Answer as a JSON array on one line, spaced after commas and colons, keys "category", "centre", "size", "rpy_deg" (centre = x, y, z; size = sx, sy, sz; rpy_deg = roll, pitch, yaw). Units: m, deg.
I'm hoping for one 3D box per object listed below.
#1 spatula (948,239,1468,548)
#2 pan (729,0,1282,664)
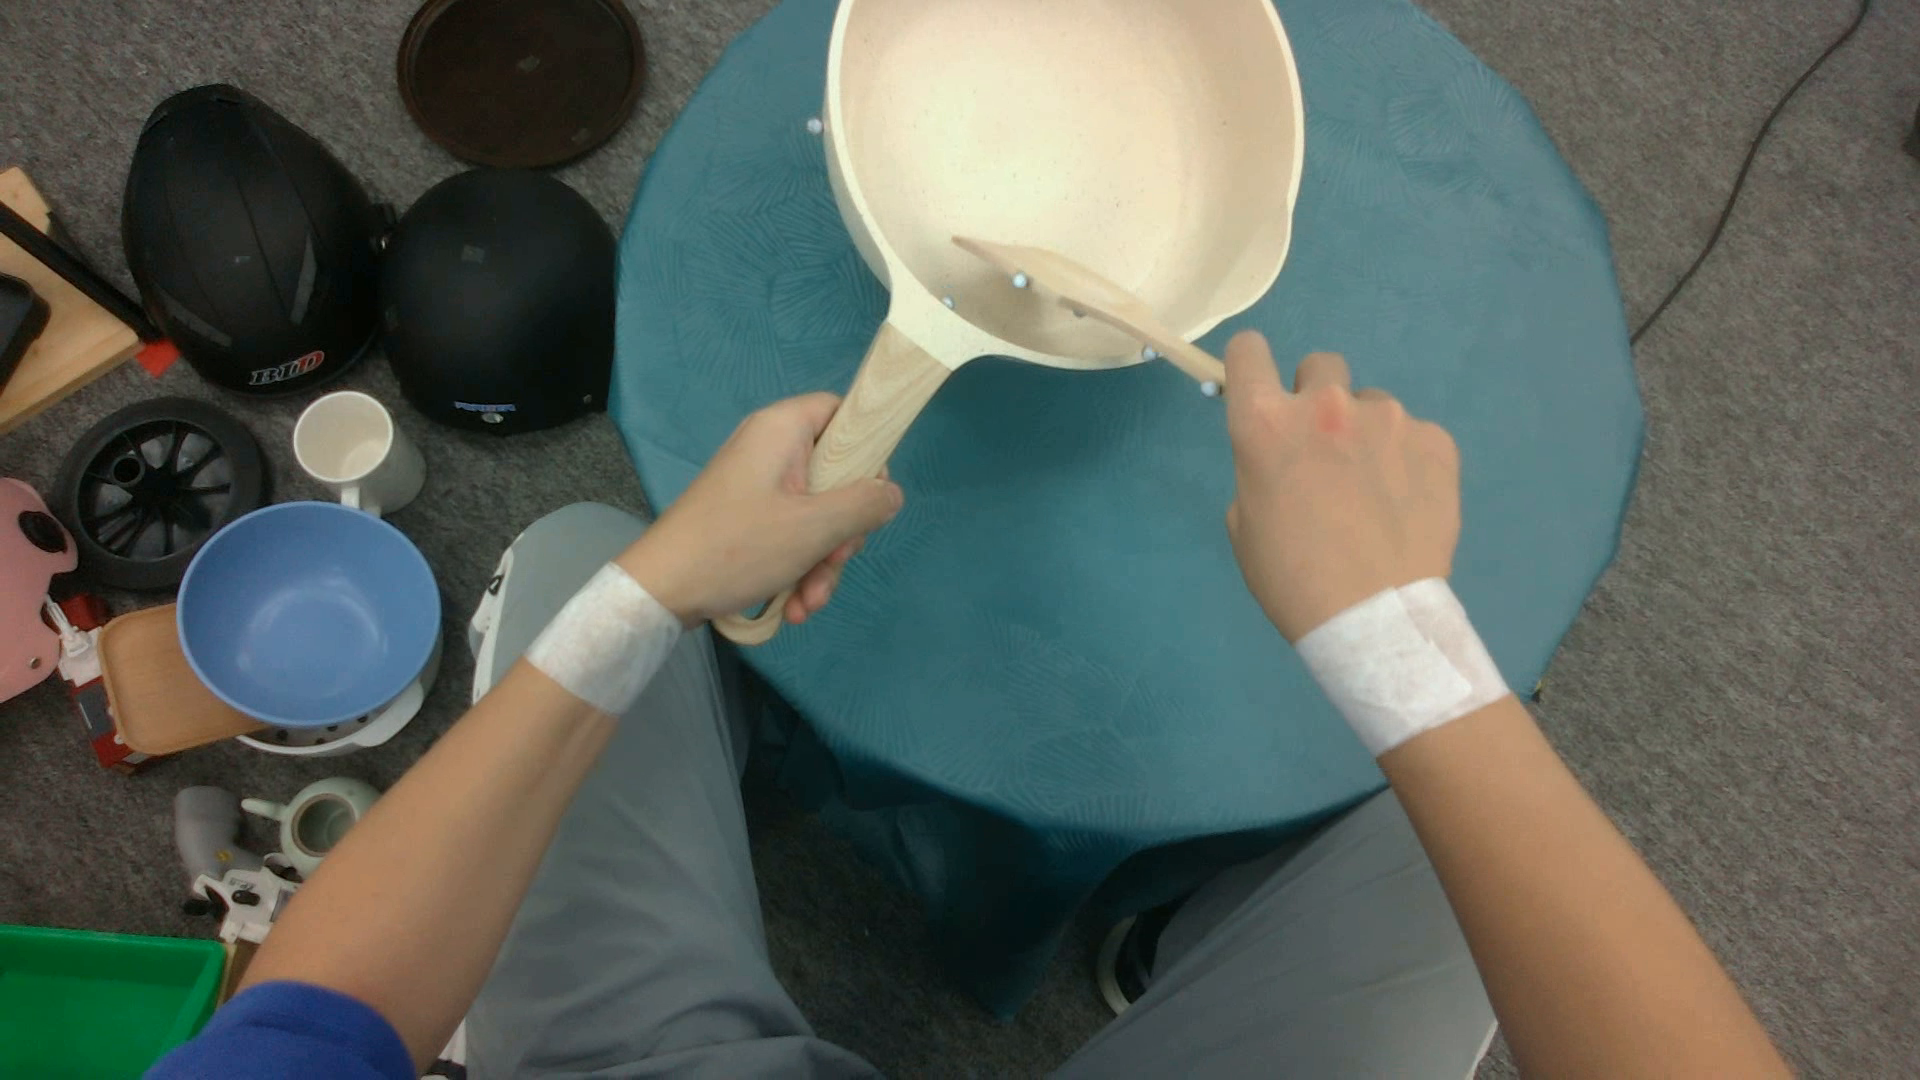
[{"category": "spatula", "centre": [0.110, -0.077, 0.641], "size": [0.293, 0.072, 0.010], "rpy_deg": [39, 118, 32]}, {"category": "pan", "centre": [-0.004, -0.133, 0.705], "size": [0.263, 0.102, 0.435], "rpy_deg": [34, 80, -16]}]
